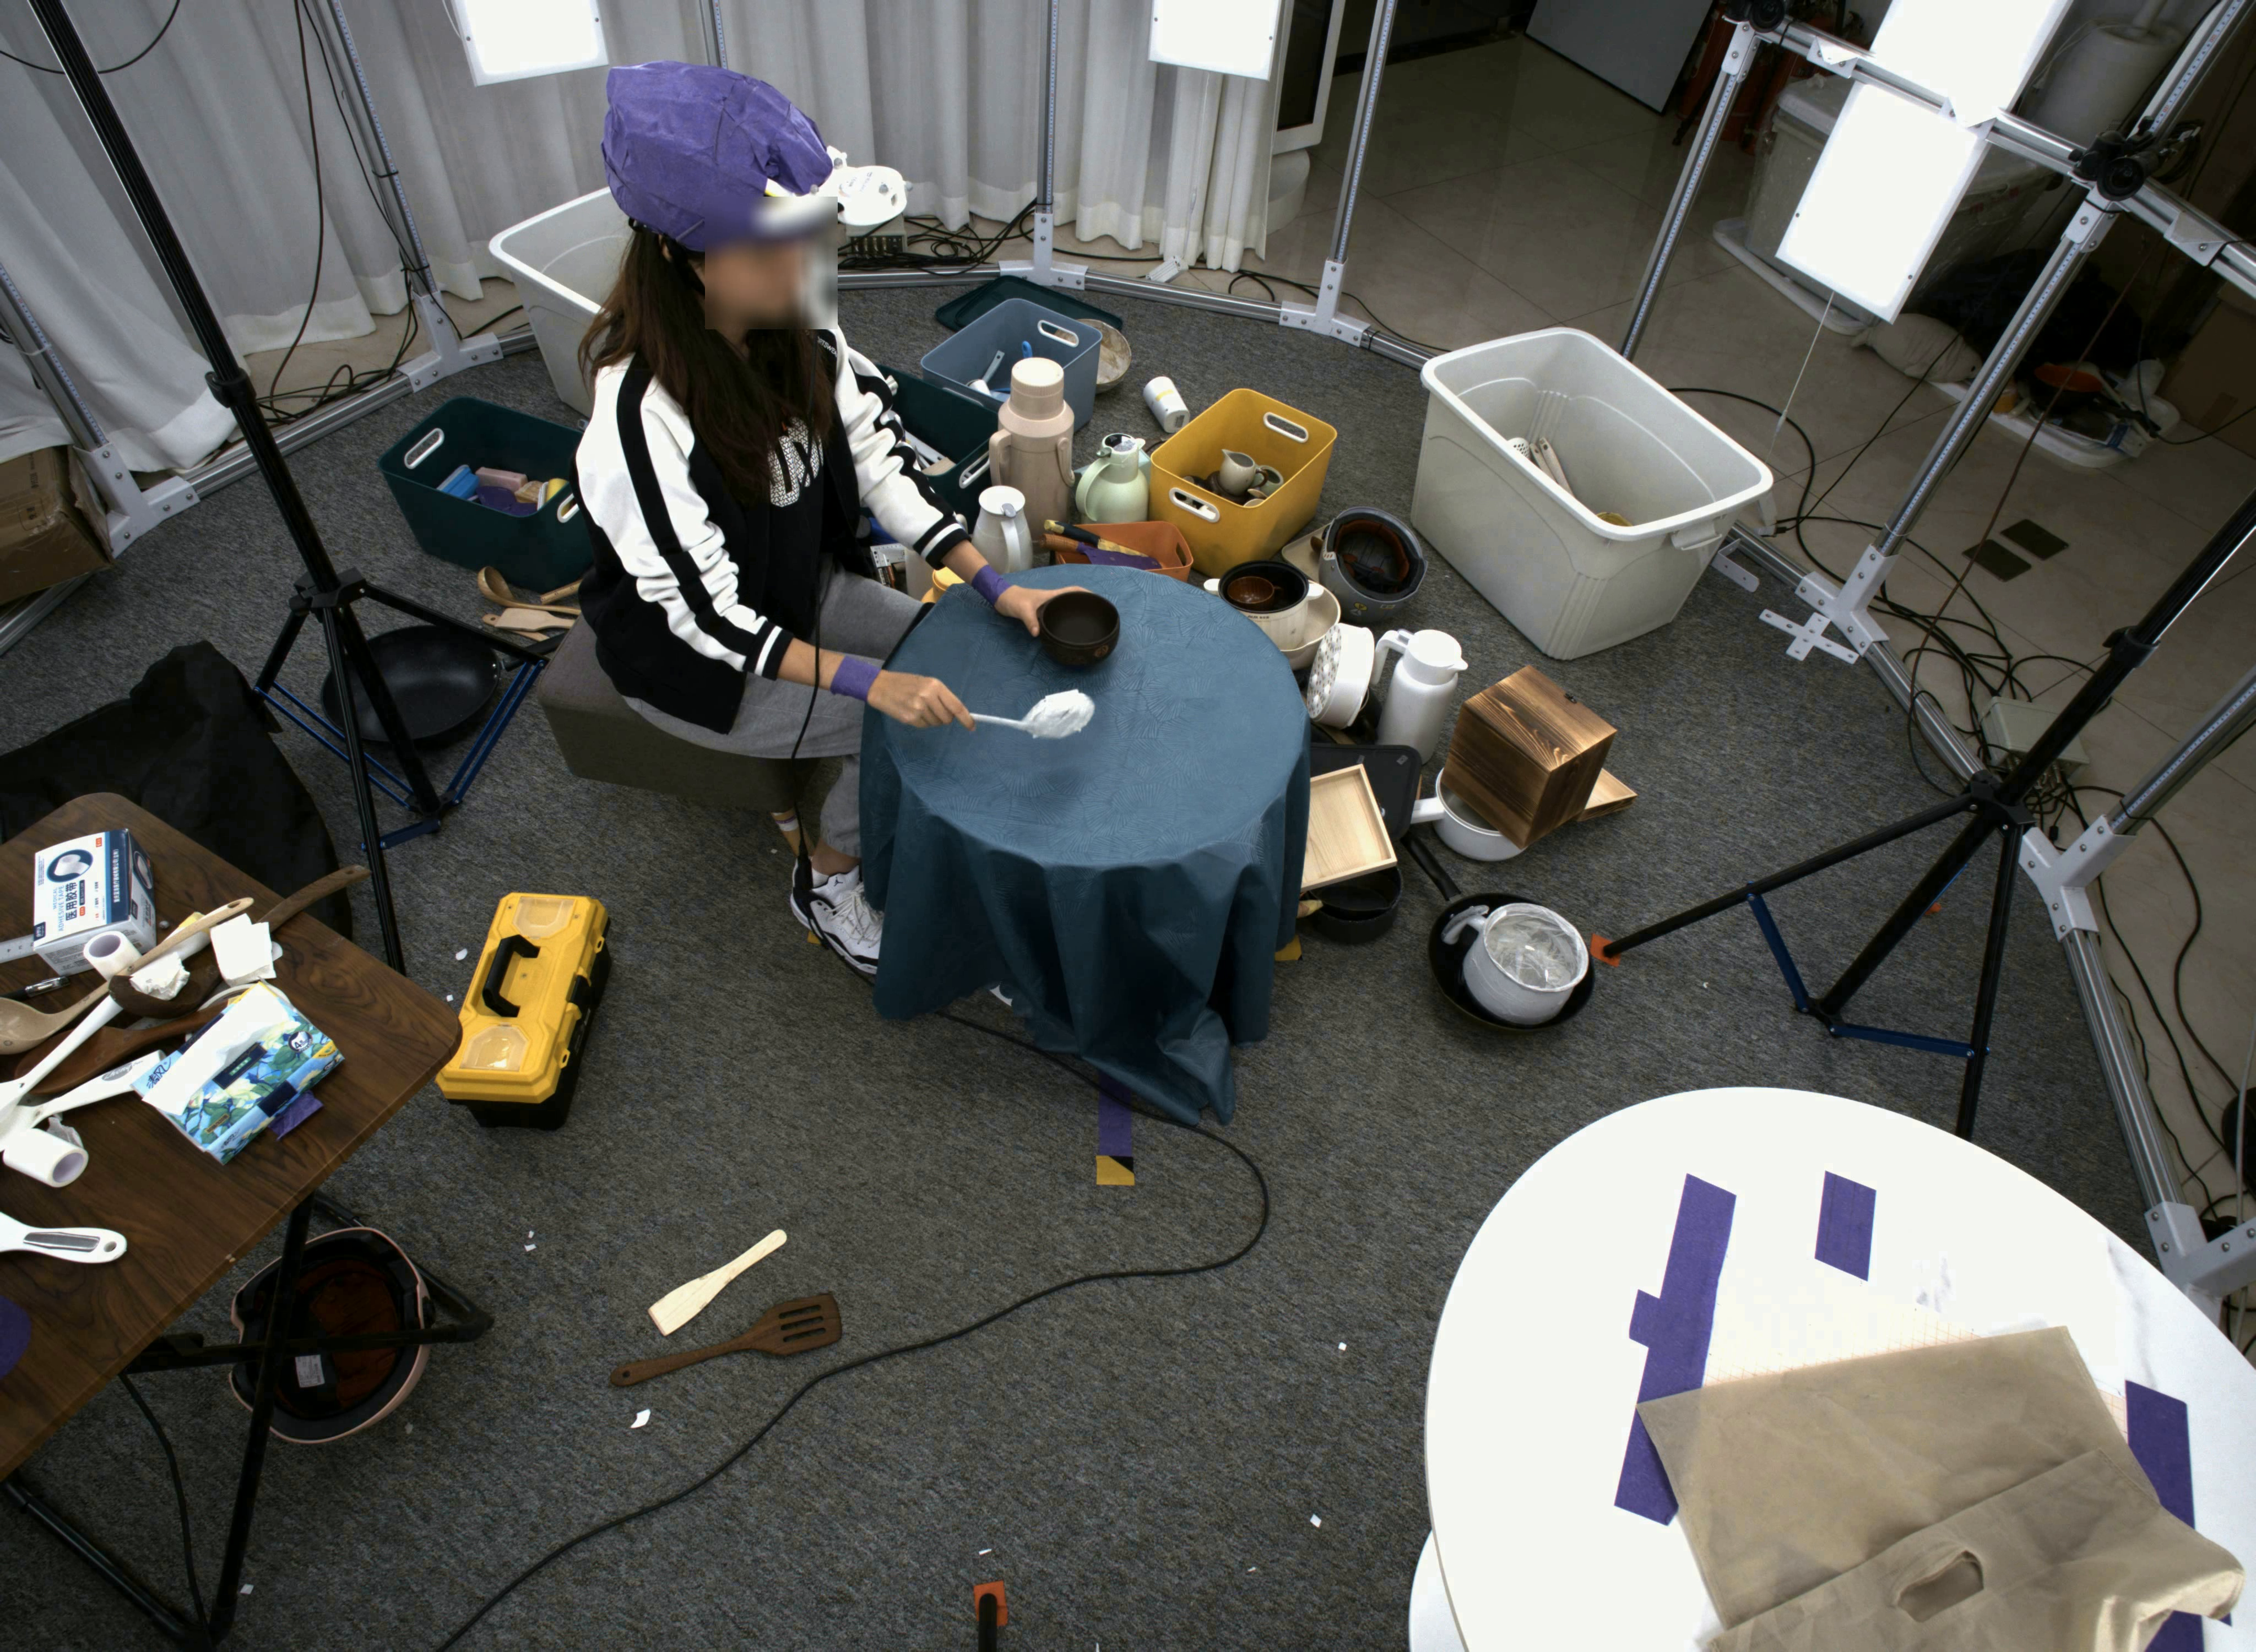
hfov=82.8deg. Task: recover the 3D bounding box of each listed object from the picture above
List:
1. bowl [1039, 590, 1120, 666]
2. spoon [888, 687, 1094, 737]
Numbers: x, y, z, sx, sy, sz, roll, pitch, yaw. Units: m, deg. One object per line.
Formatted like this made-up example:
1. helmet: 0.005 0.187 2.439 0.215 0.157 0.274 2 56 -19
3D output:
1. bowl: -0.070 -0.278 1.858 0.118 0.068 0.121 2 49 -3
2. spoon: -0.183 -0.163 1.707 0.278 0.098 0.060 10 60 18
